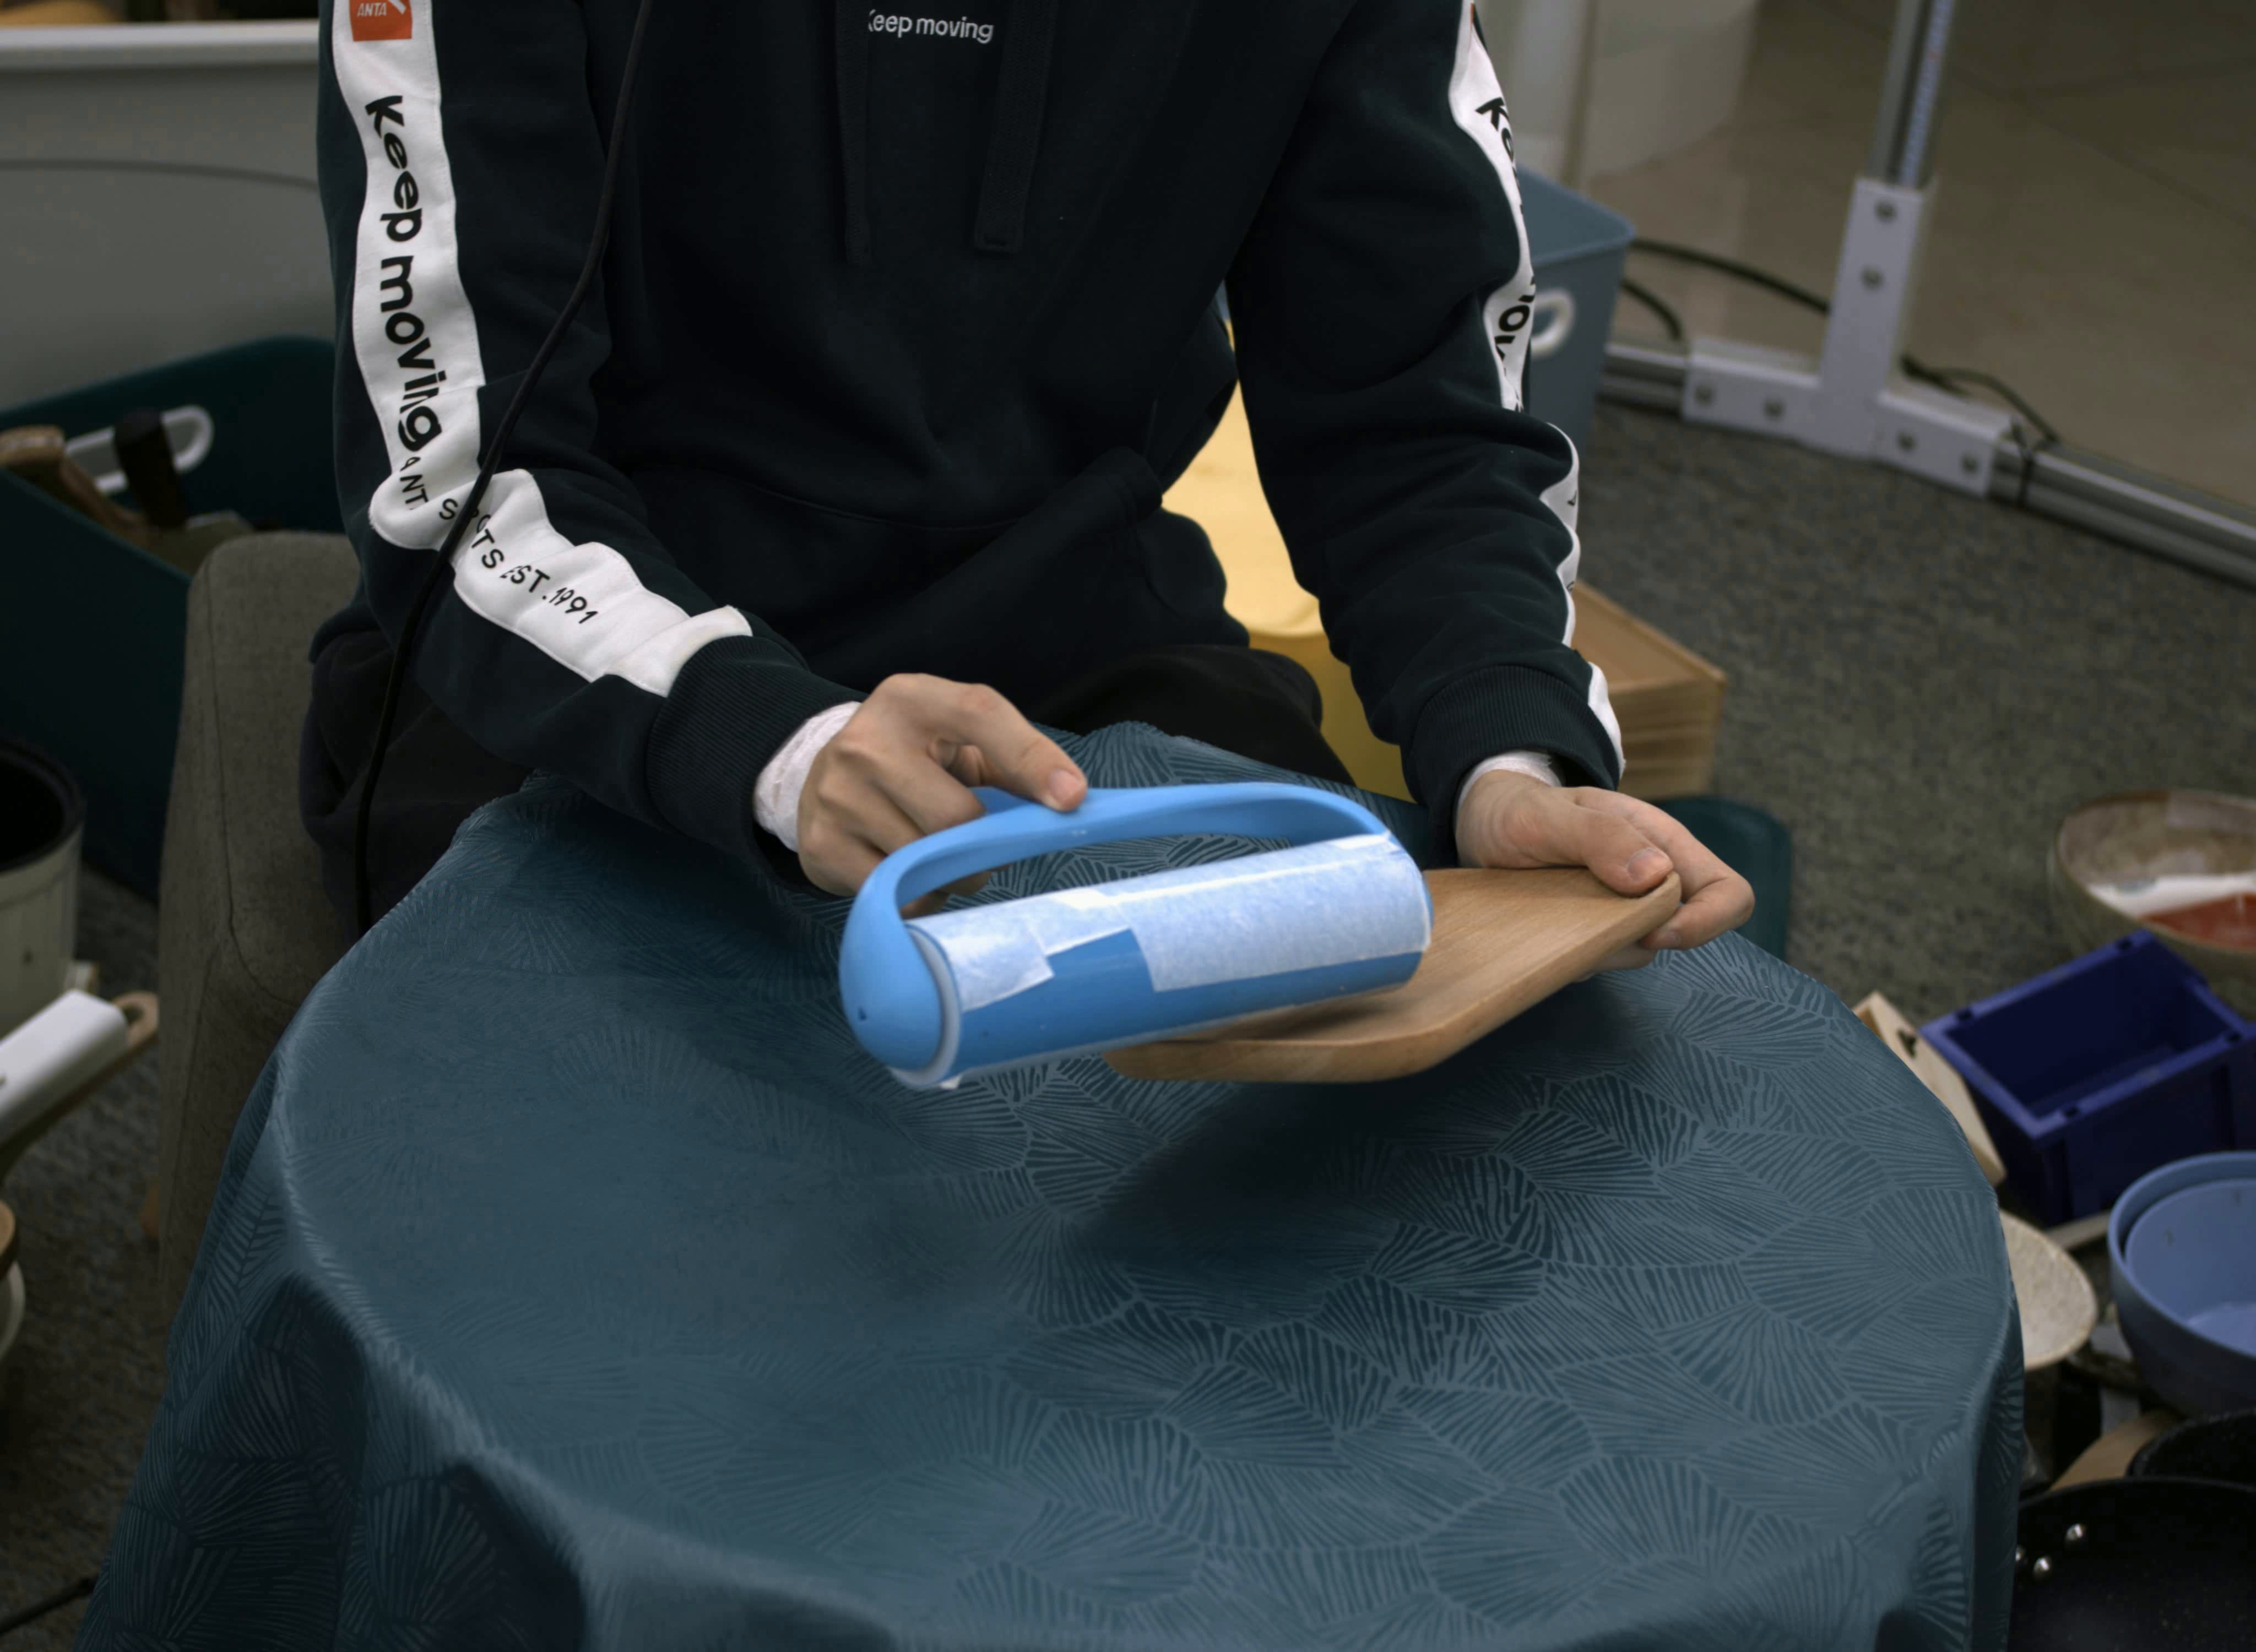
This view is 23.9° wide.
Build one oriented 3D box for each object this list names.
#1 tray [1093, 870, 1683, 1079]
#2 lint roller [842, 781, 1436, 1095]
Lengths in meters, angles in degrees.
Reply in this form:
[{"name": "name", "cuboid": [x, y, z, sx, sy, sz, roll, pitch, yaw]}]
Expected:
[{"name": "tray", "cuboid": [0.093, 0.049, 1.825, 0.131, 0.023, 0.250, -4, 11, 31]}, {"name": "lint roller", "cuboid": [-0.030, 0.020, 1.758, 0.227, 0.068, 0.182, -14, 30, -37]}]
